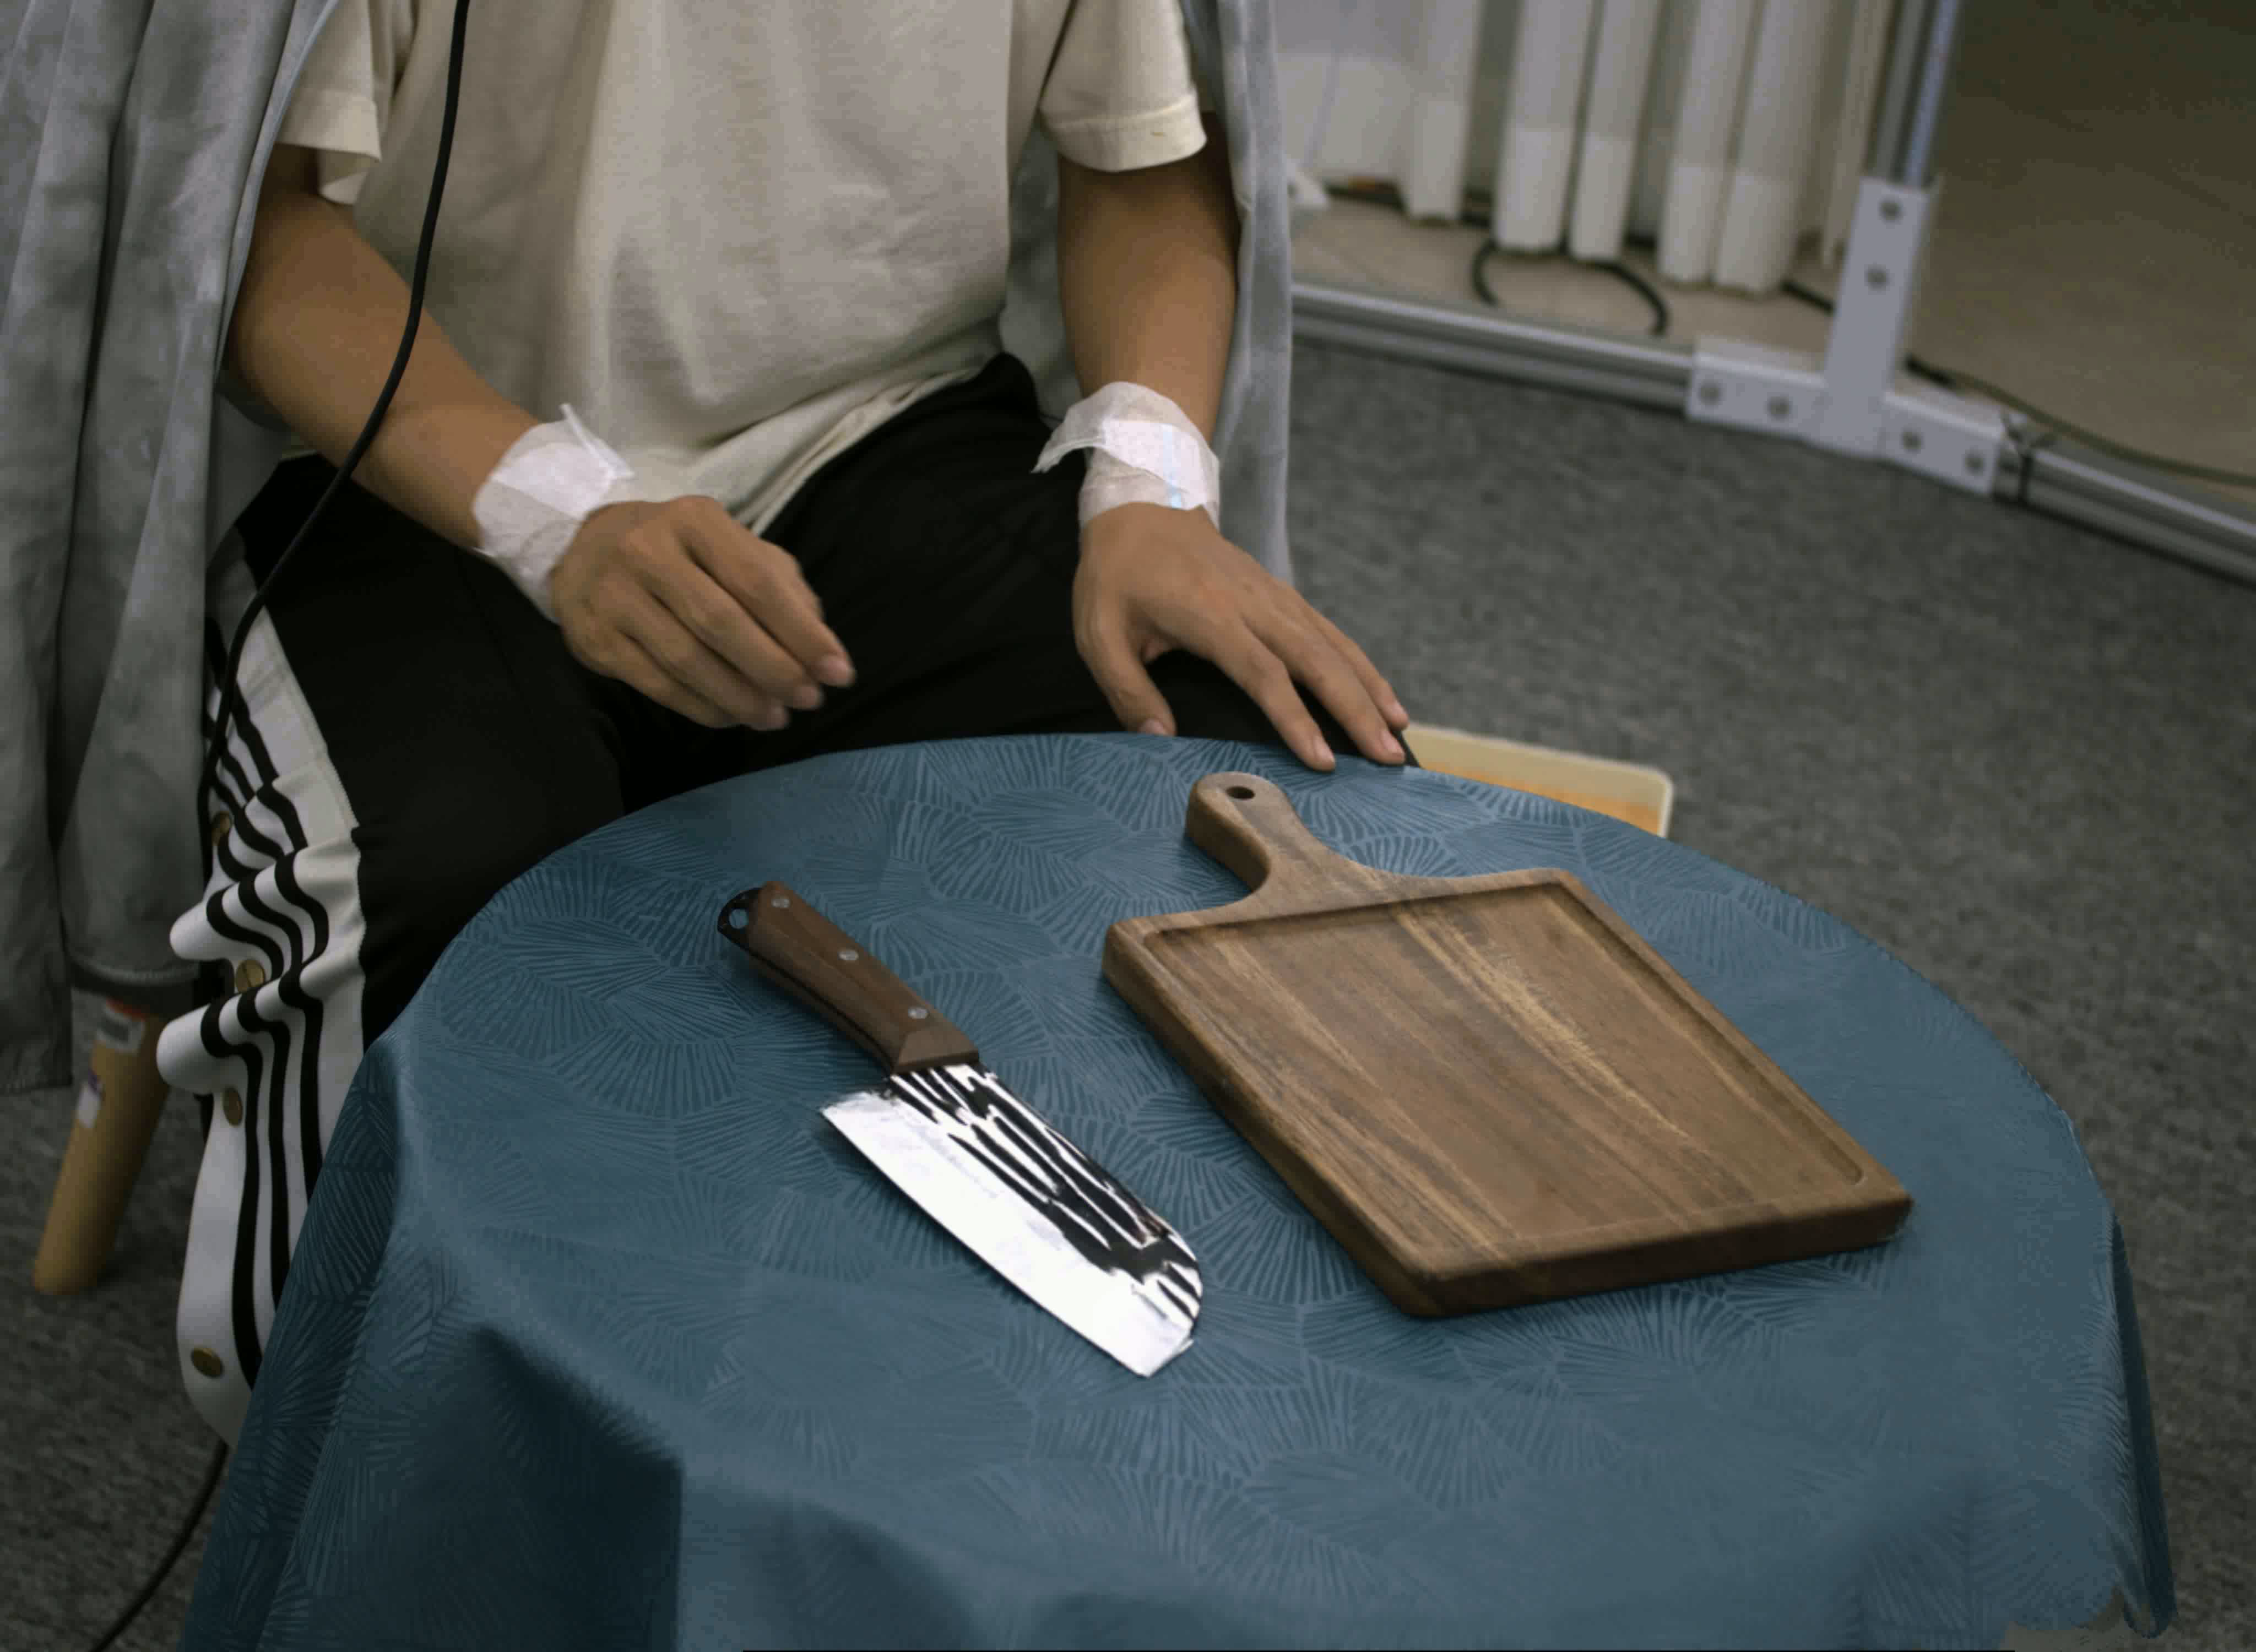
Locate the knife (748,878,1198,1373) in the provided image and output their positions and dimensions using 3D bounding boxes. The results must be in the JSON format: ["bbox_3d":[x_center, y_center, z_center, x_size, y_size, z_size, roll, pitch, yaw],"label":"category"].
[{"bbox_3d":[-0.063,0.100,1.815,0.068,0.024,0.302,-15,36,-32],"label":"knife"}]

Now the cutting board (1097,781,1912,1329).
[{"bbox_3d":[0.108,0.068,1.920,0.200,0.023,0.355,-9,30,-24],"label":"cutting board"}]
